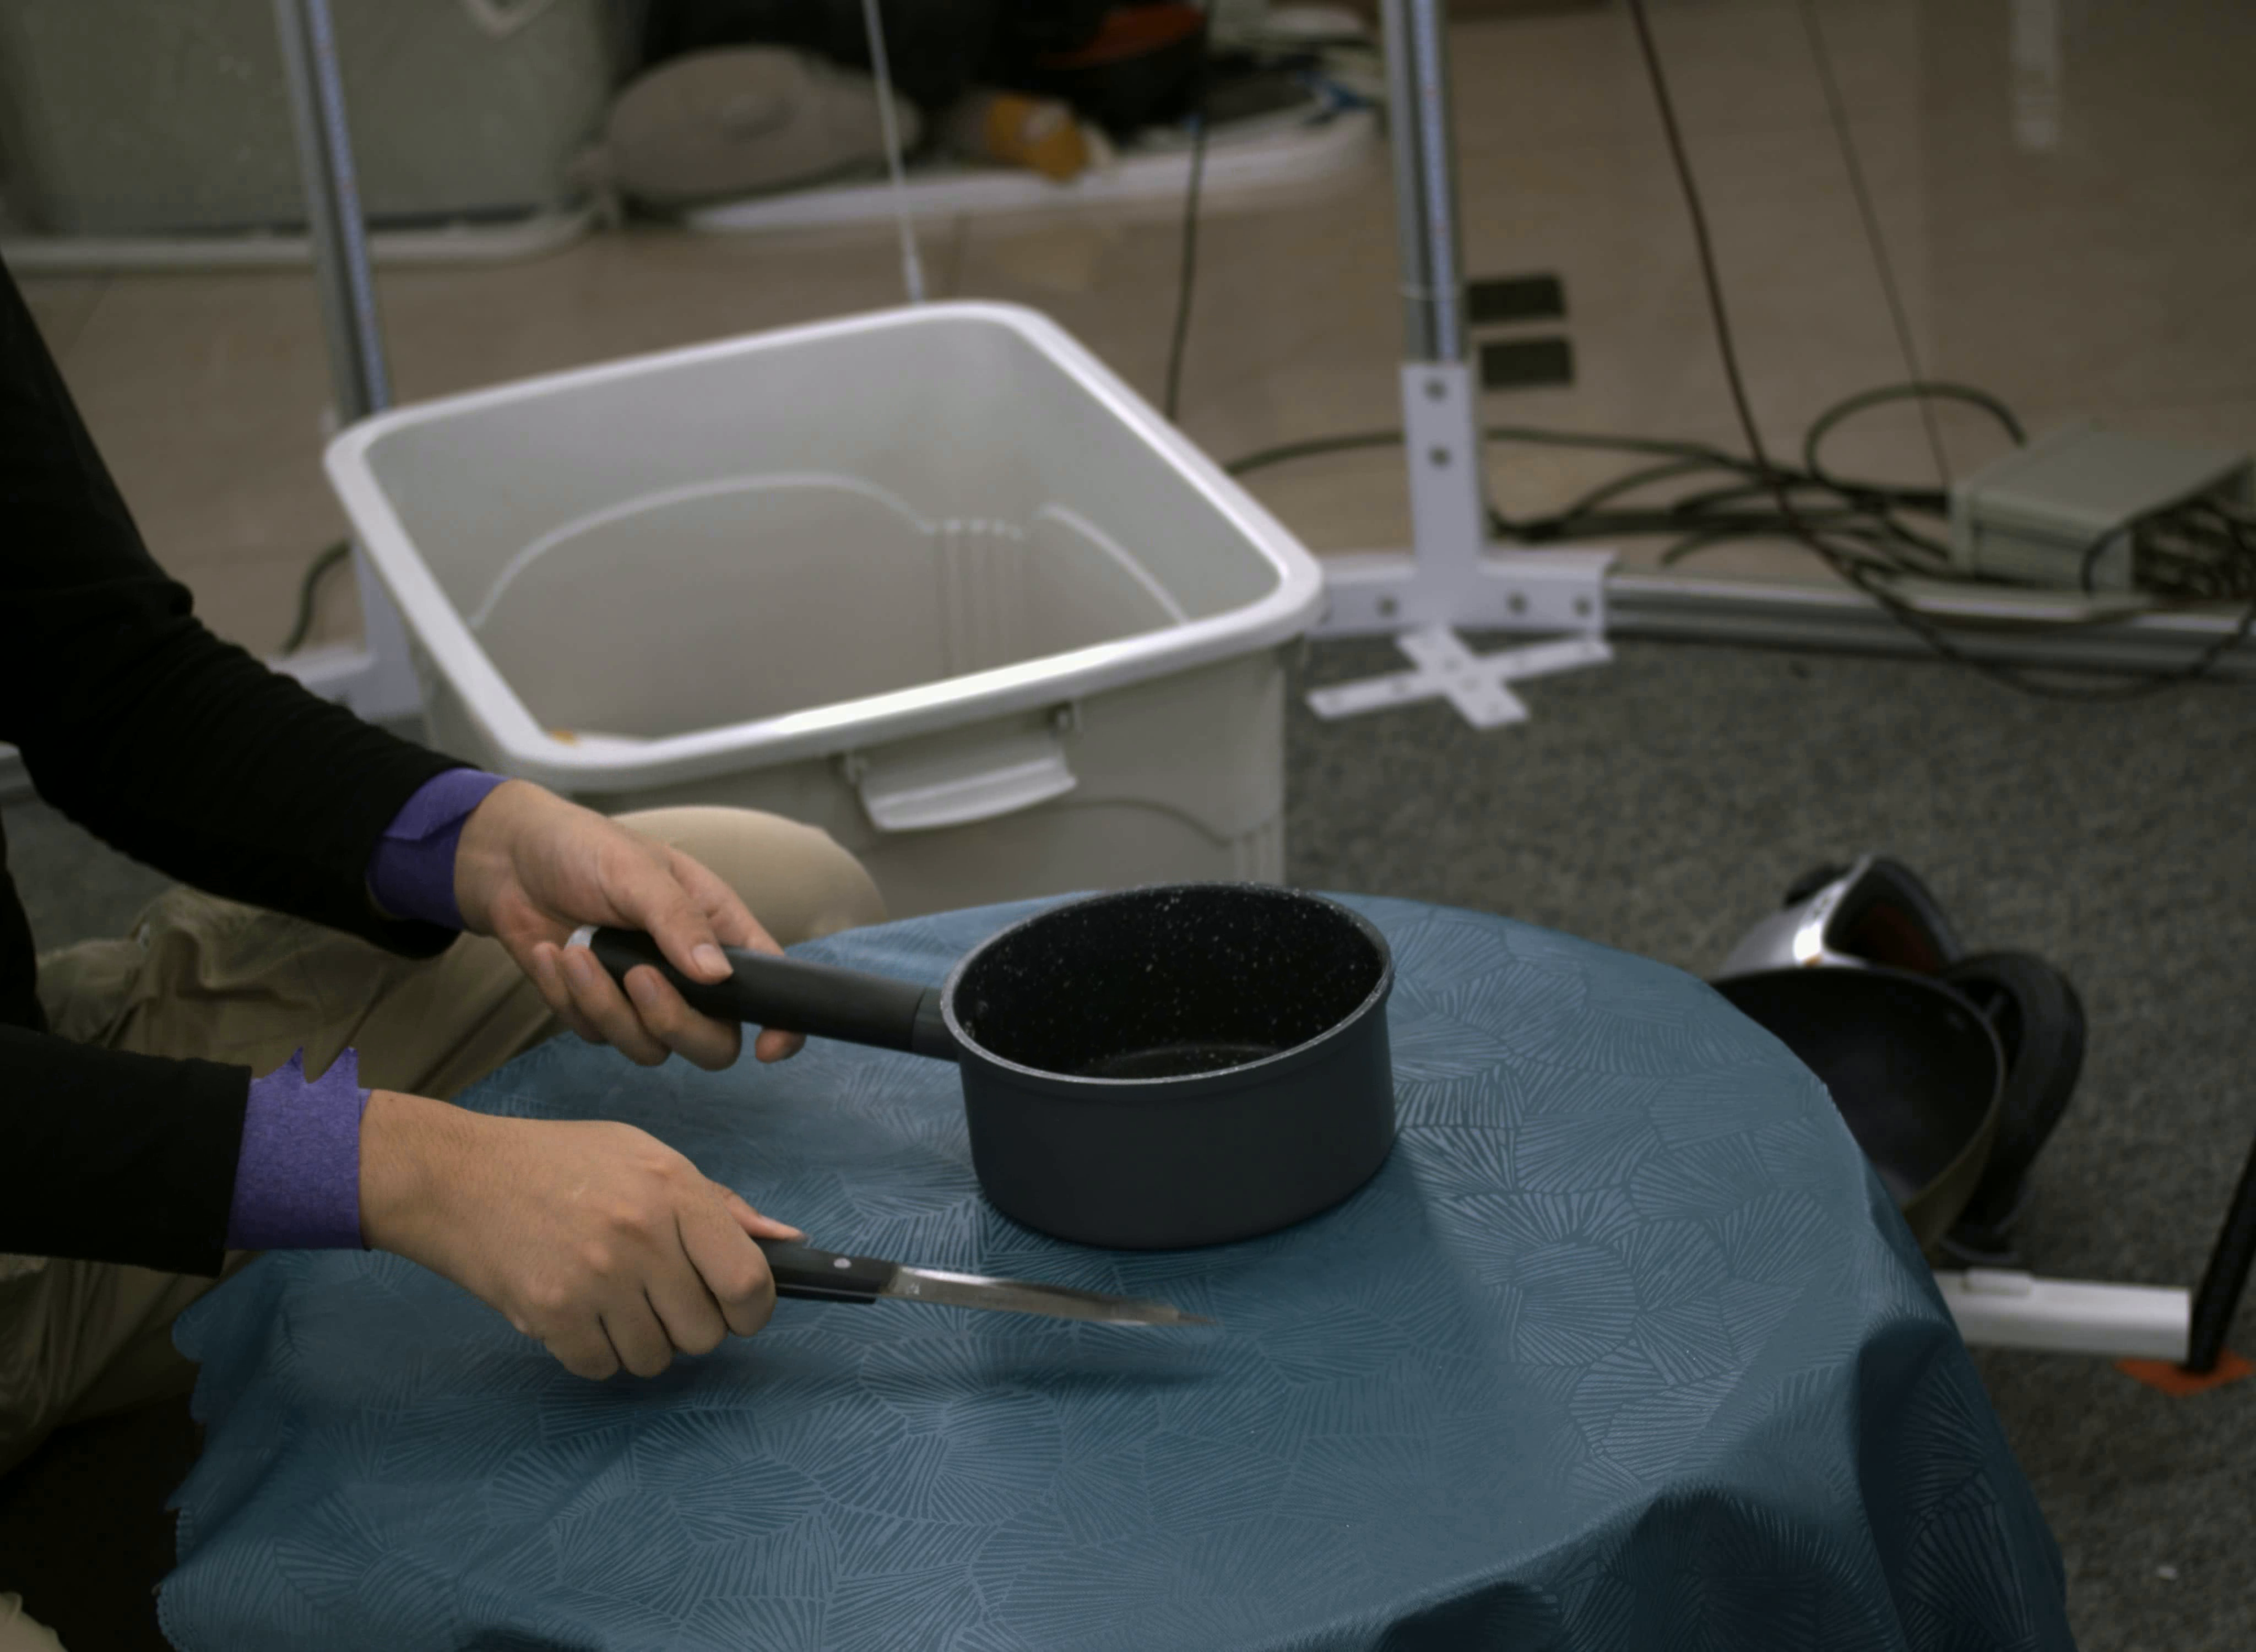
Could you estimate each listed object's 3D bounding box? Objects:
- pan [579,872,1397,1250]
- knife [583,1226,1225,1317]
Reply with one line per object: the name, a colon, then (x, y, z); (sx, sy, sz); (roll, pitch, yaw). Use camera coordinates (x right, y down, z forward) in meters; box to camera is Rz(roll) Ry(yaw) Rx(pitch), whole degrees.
pan: (-0.056, 0.083, 2.181); (0.328, 0.088, 0.169); (4, 27, 20)
knife: (-0.083, 0.164, 2.036); (0.237, 0.016, 0.024); (5, 23, 10)
